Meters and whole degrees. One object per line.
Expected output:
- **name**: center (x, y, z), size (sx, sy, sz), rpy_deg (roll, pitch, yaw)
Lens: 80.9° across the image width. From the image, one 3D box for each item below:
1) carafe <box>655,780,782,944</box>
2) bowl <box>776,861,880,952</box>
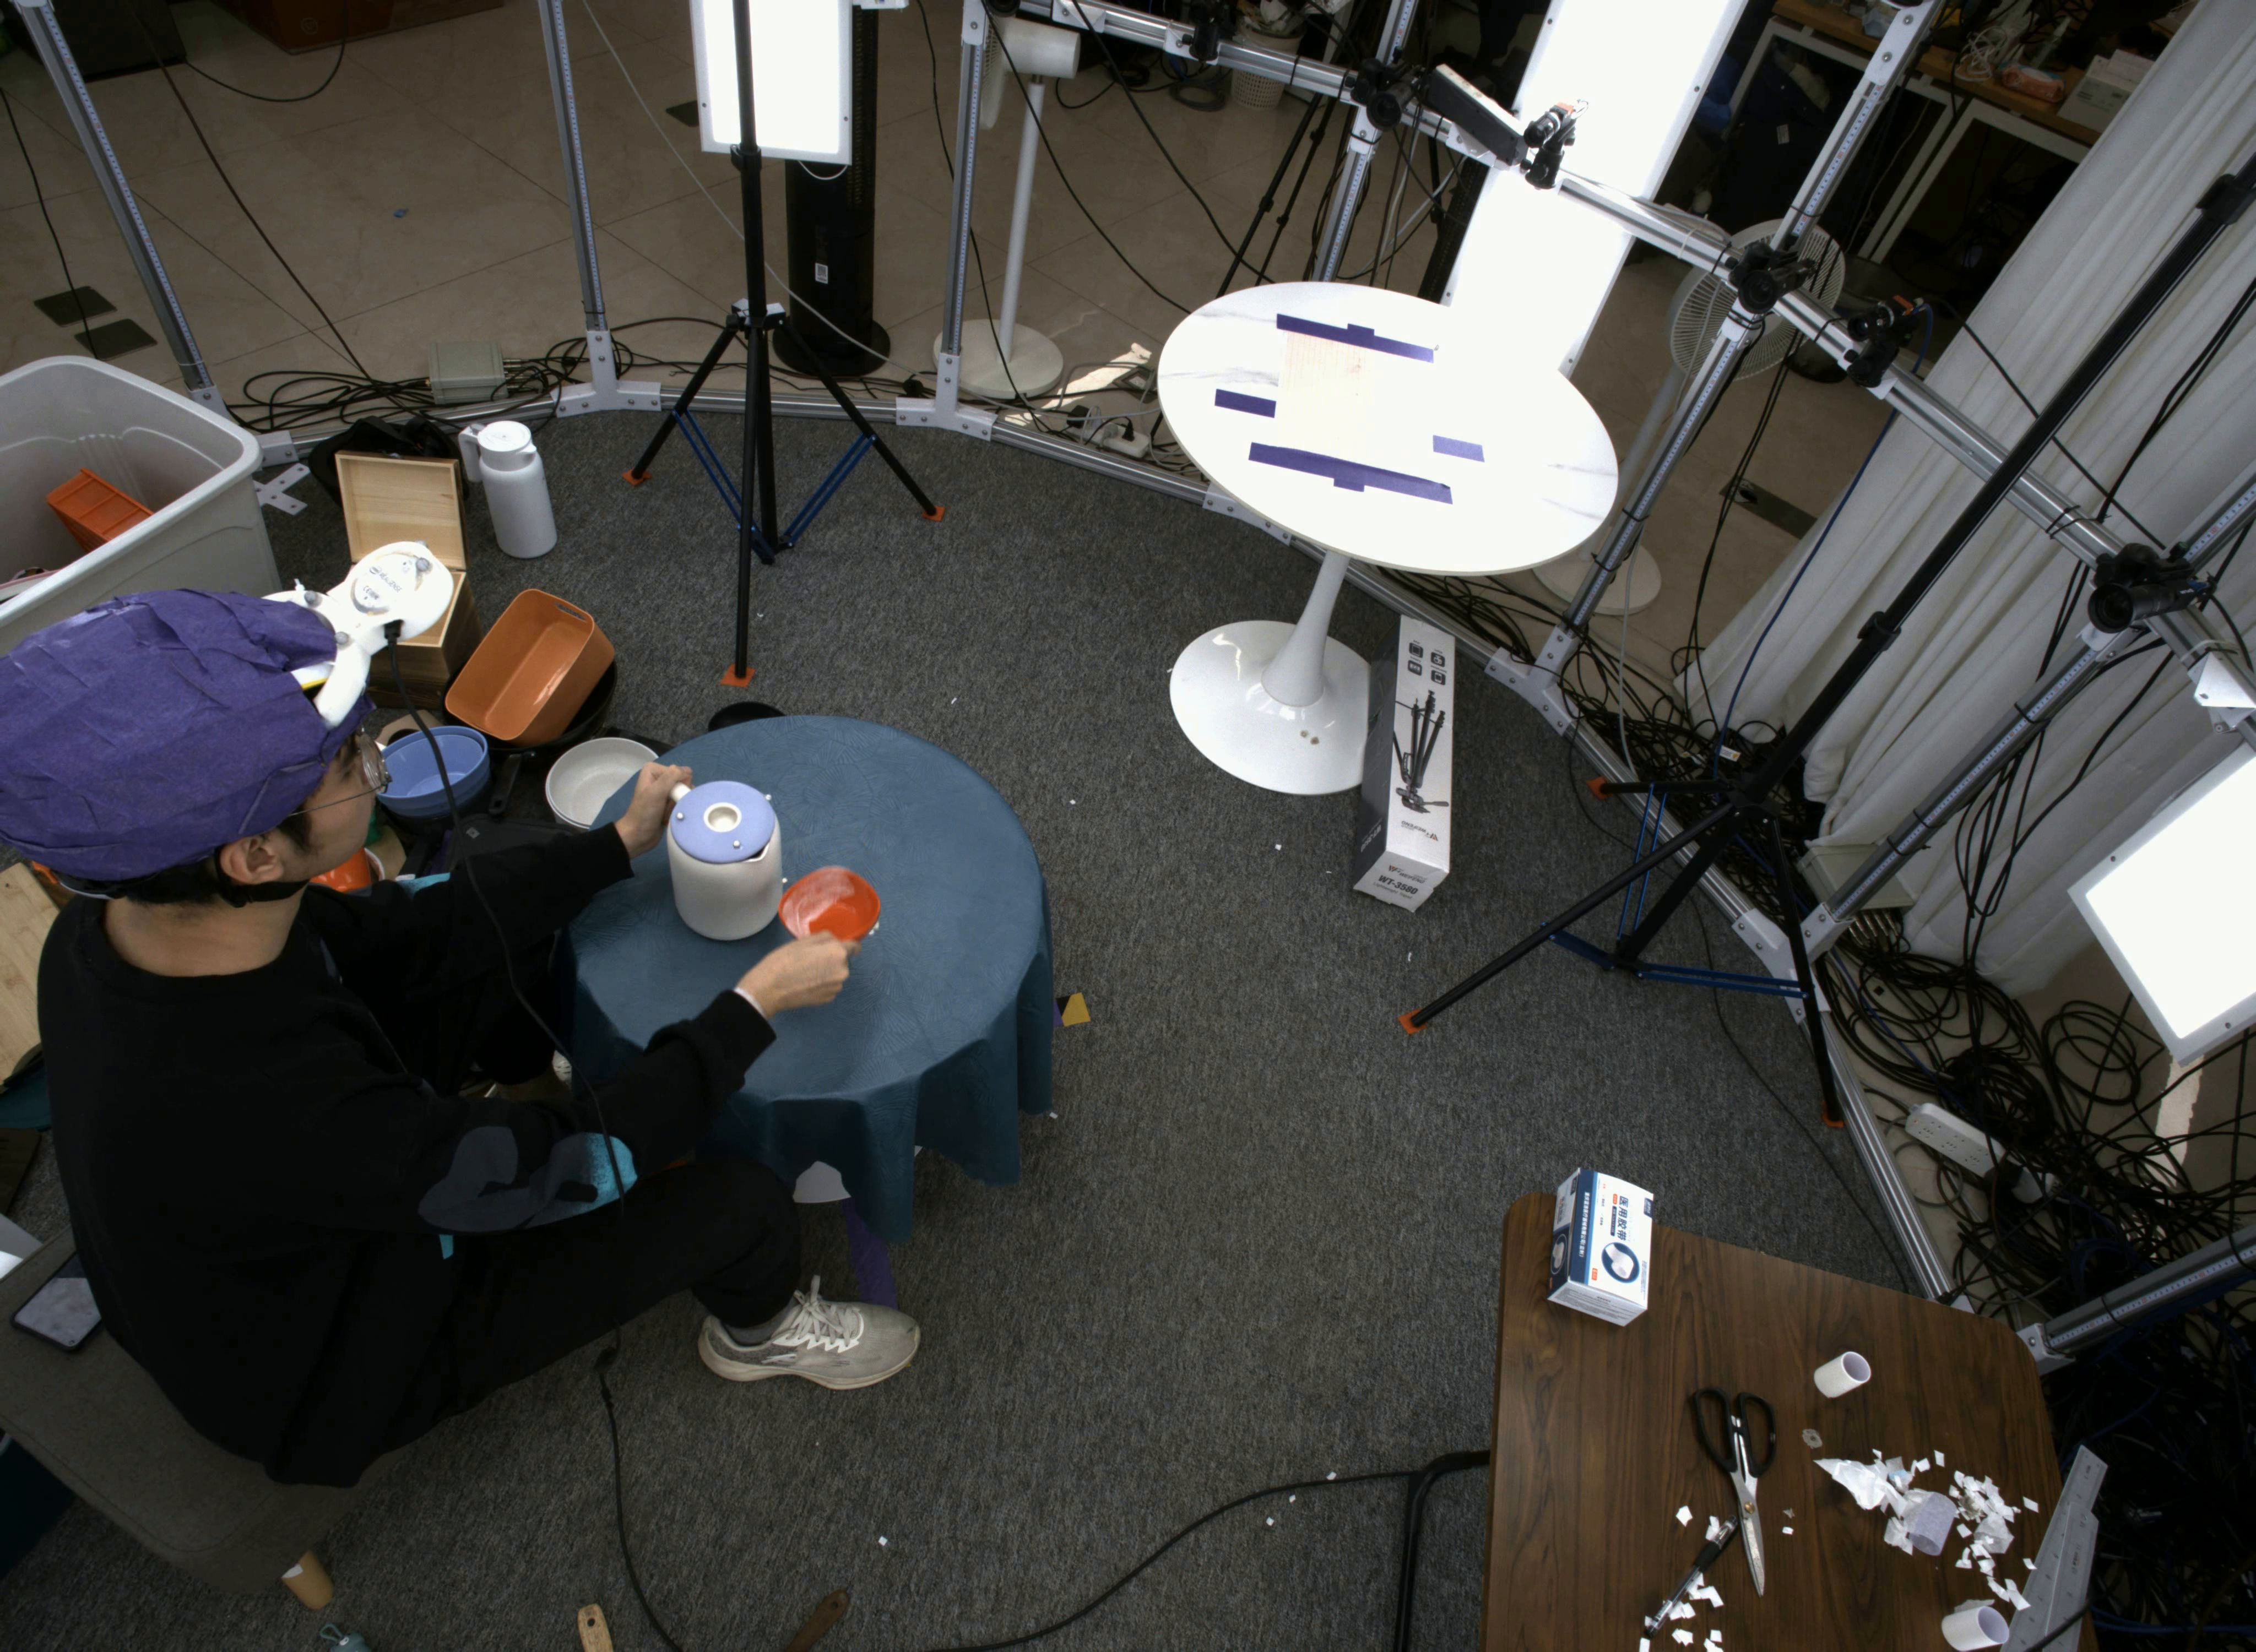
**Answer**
- **carafe**: center (-0.507, 0.029, 1.570), size (0.187, 0.186, 0.132), rpy_deg (36, 53, 15)
- **bowl**: center (-0.351, 0.101, 1.528), size (0.118, 0.053, 0.116), rpy_deg (5, 48, -4)
